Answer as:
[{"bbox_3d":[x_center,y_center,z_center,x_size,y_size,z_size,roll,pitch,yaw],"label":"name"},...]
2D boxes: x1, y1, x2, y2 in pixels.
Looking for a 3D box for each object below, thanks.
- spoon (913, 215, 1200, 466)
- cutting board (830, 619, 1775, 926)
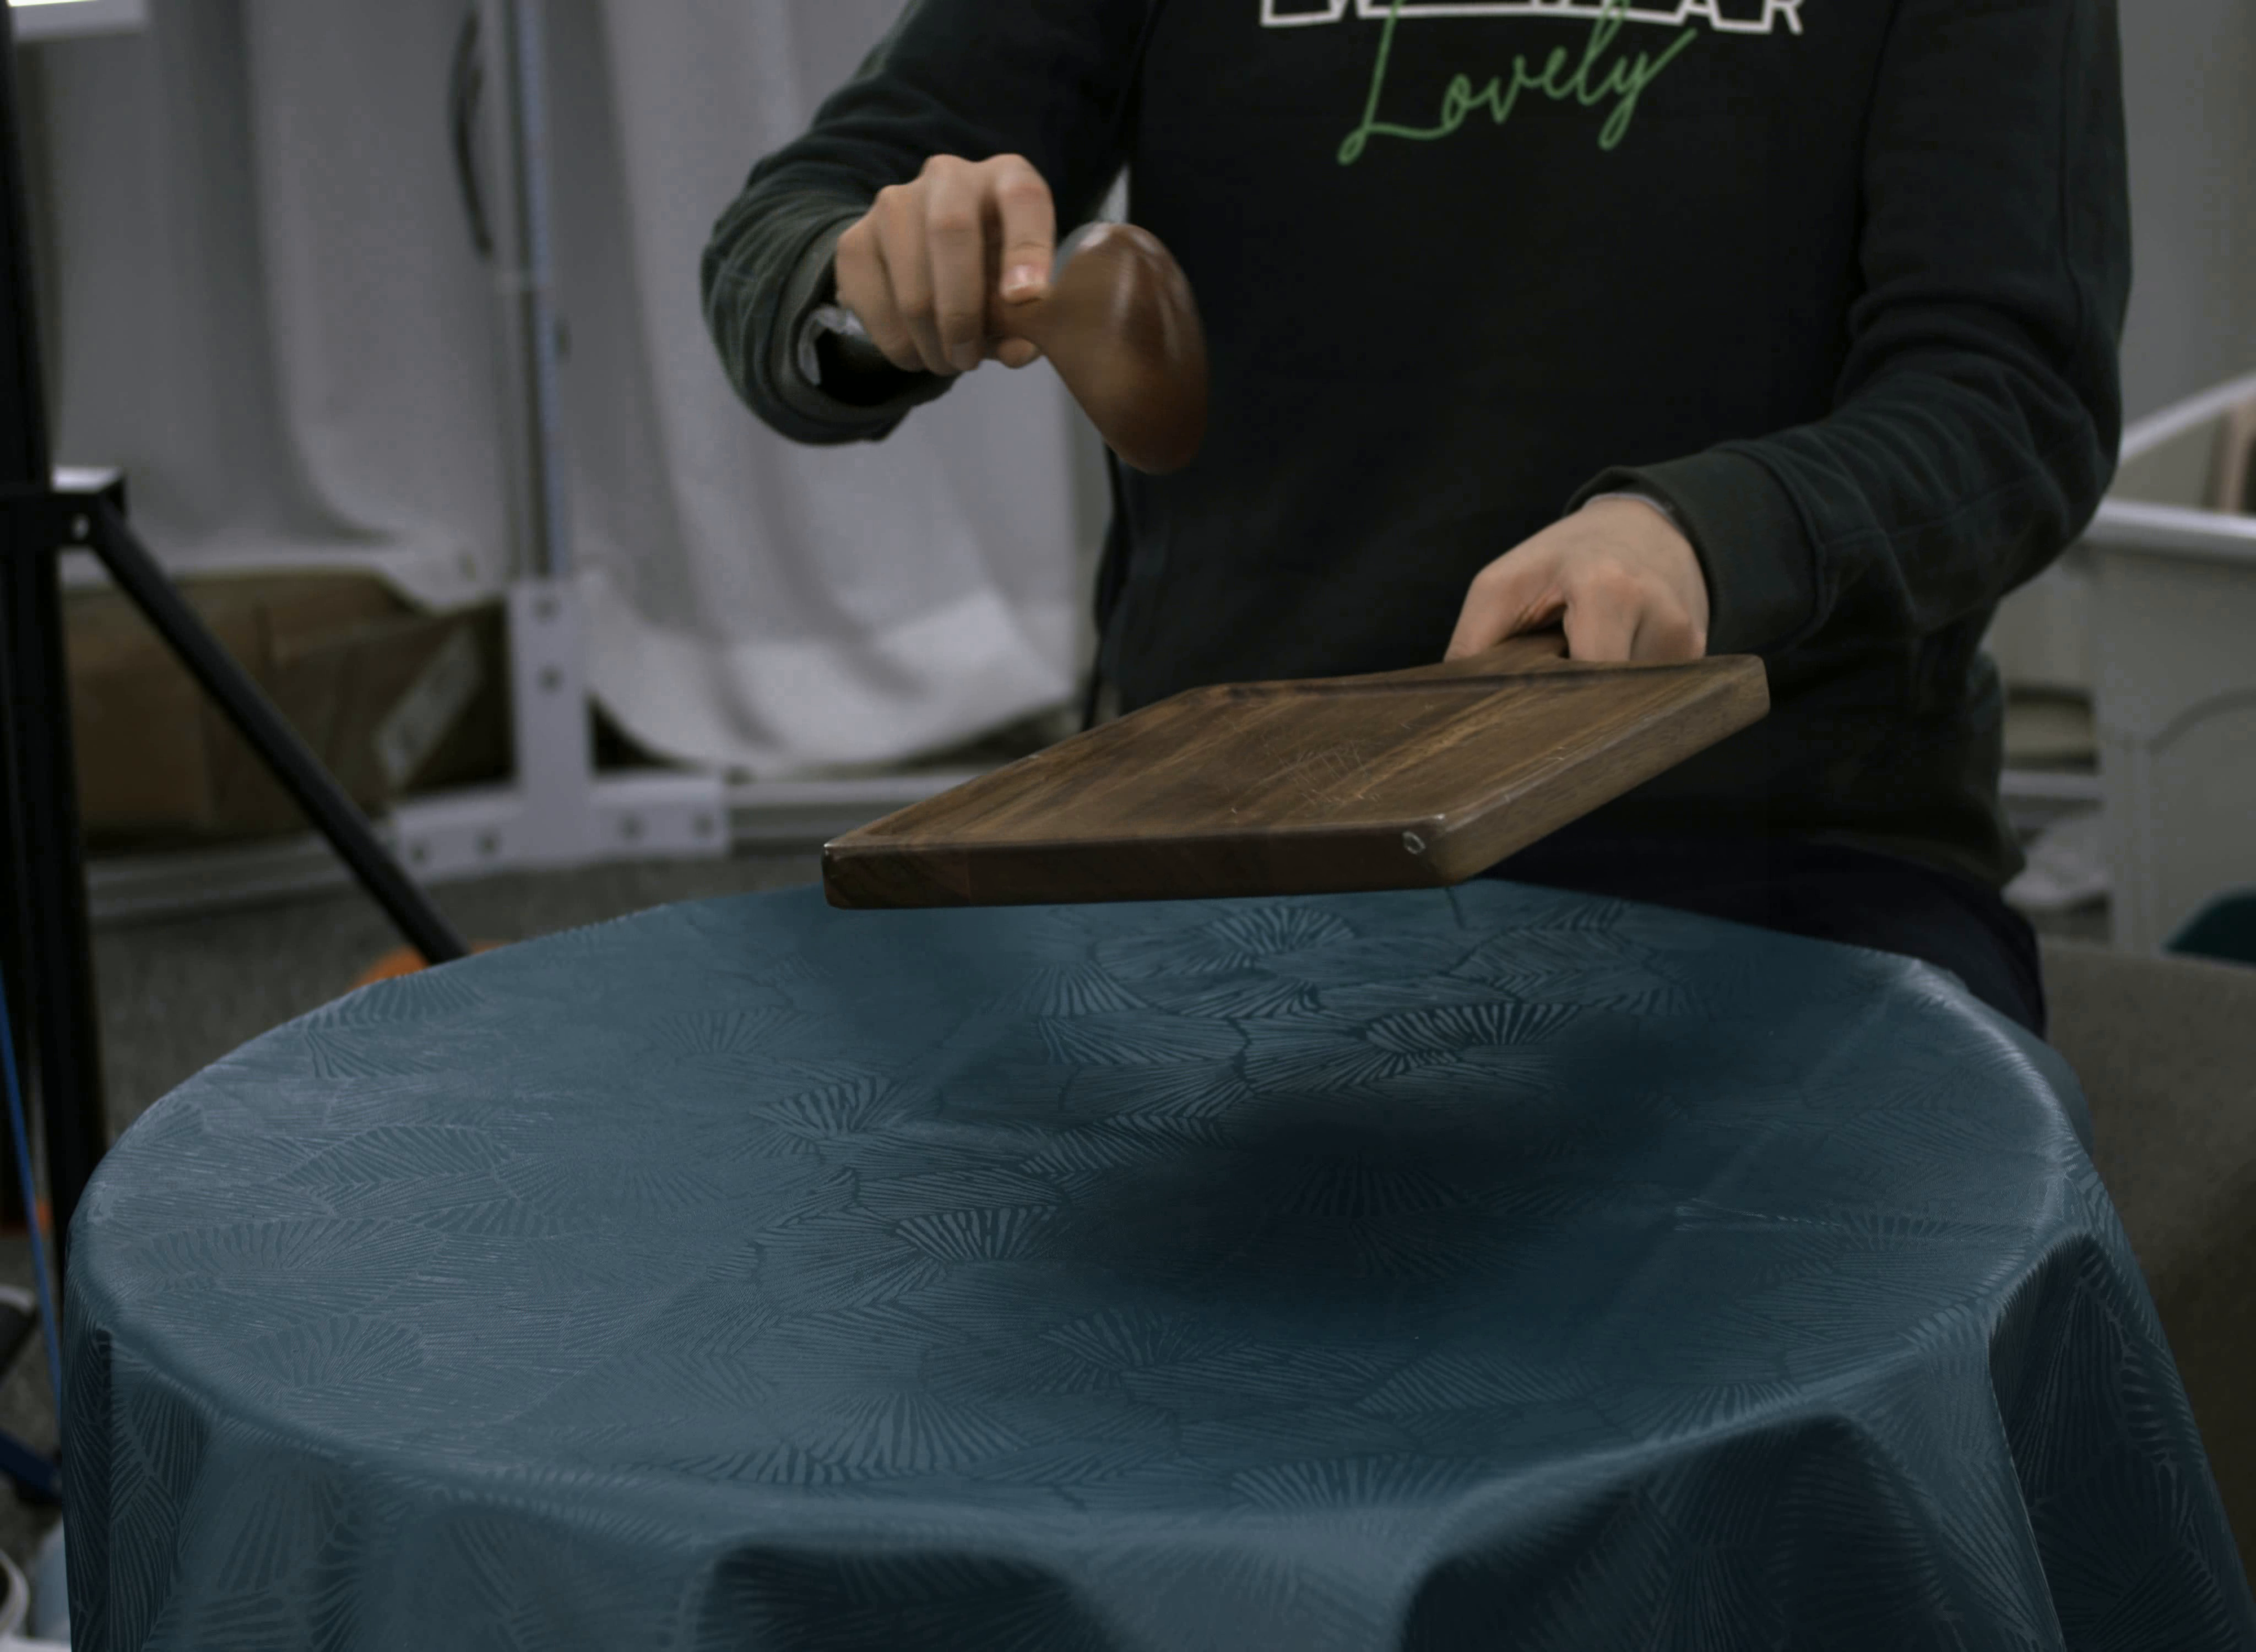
[{"bbox_3d":[-0.025,-0.151,1.611,0.017,0.075,0.219,-17,15,-17],"label":"spoon"},{"bbox_3d":[0.077,-0.022,1.572,0.204,0.023,0.346,-4,10,28],"label":"cutting board"}]
